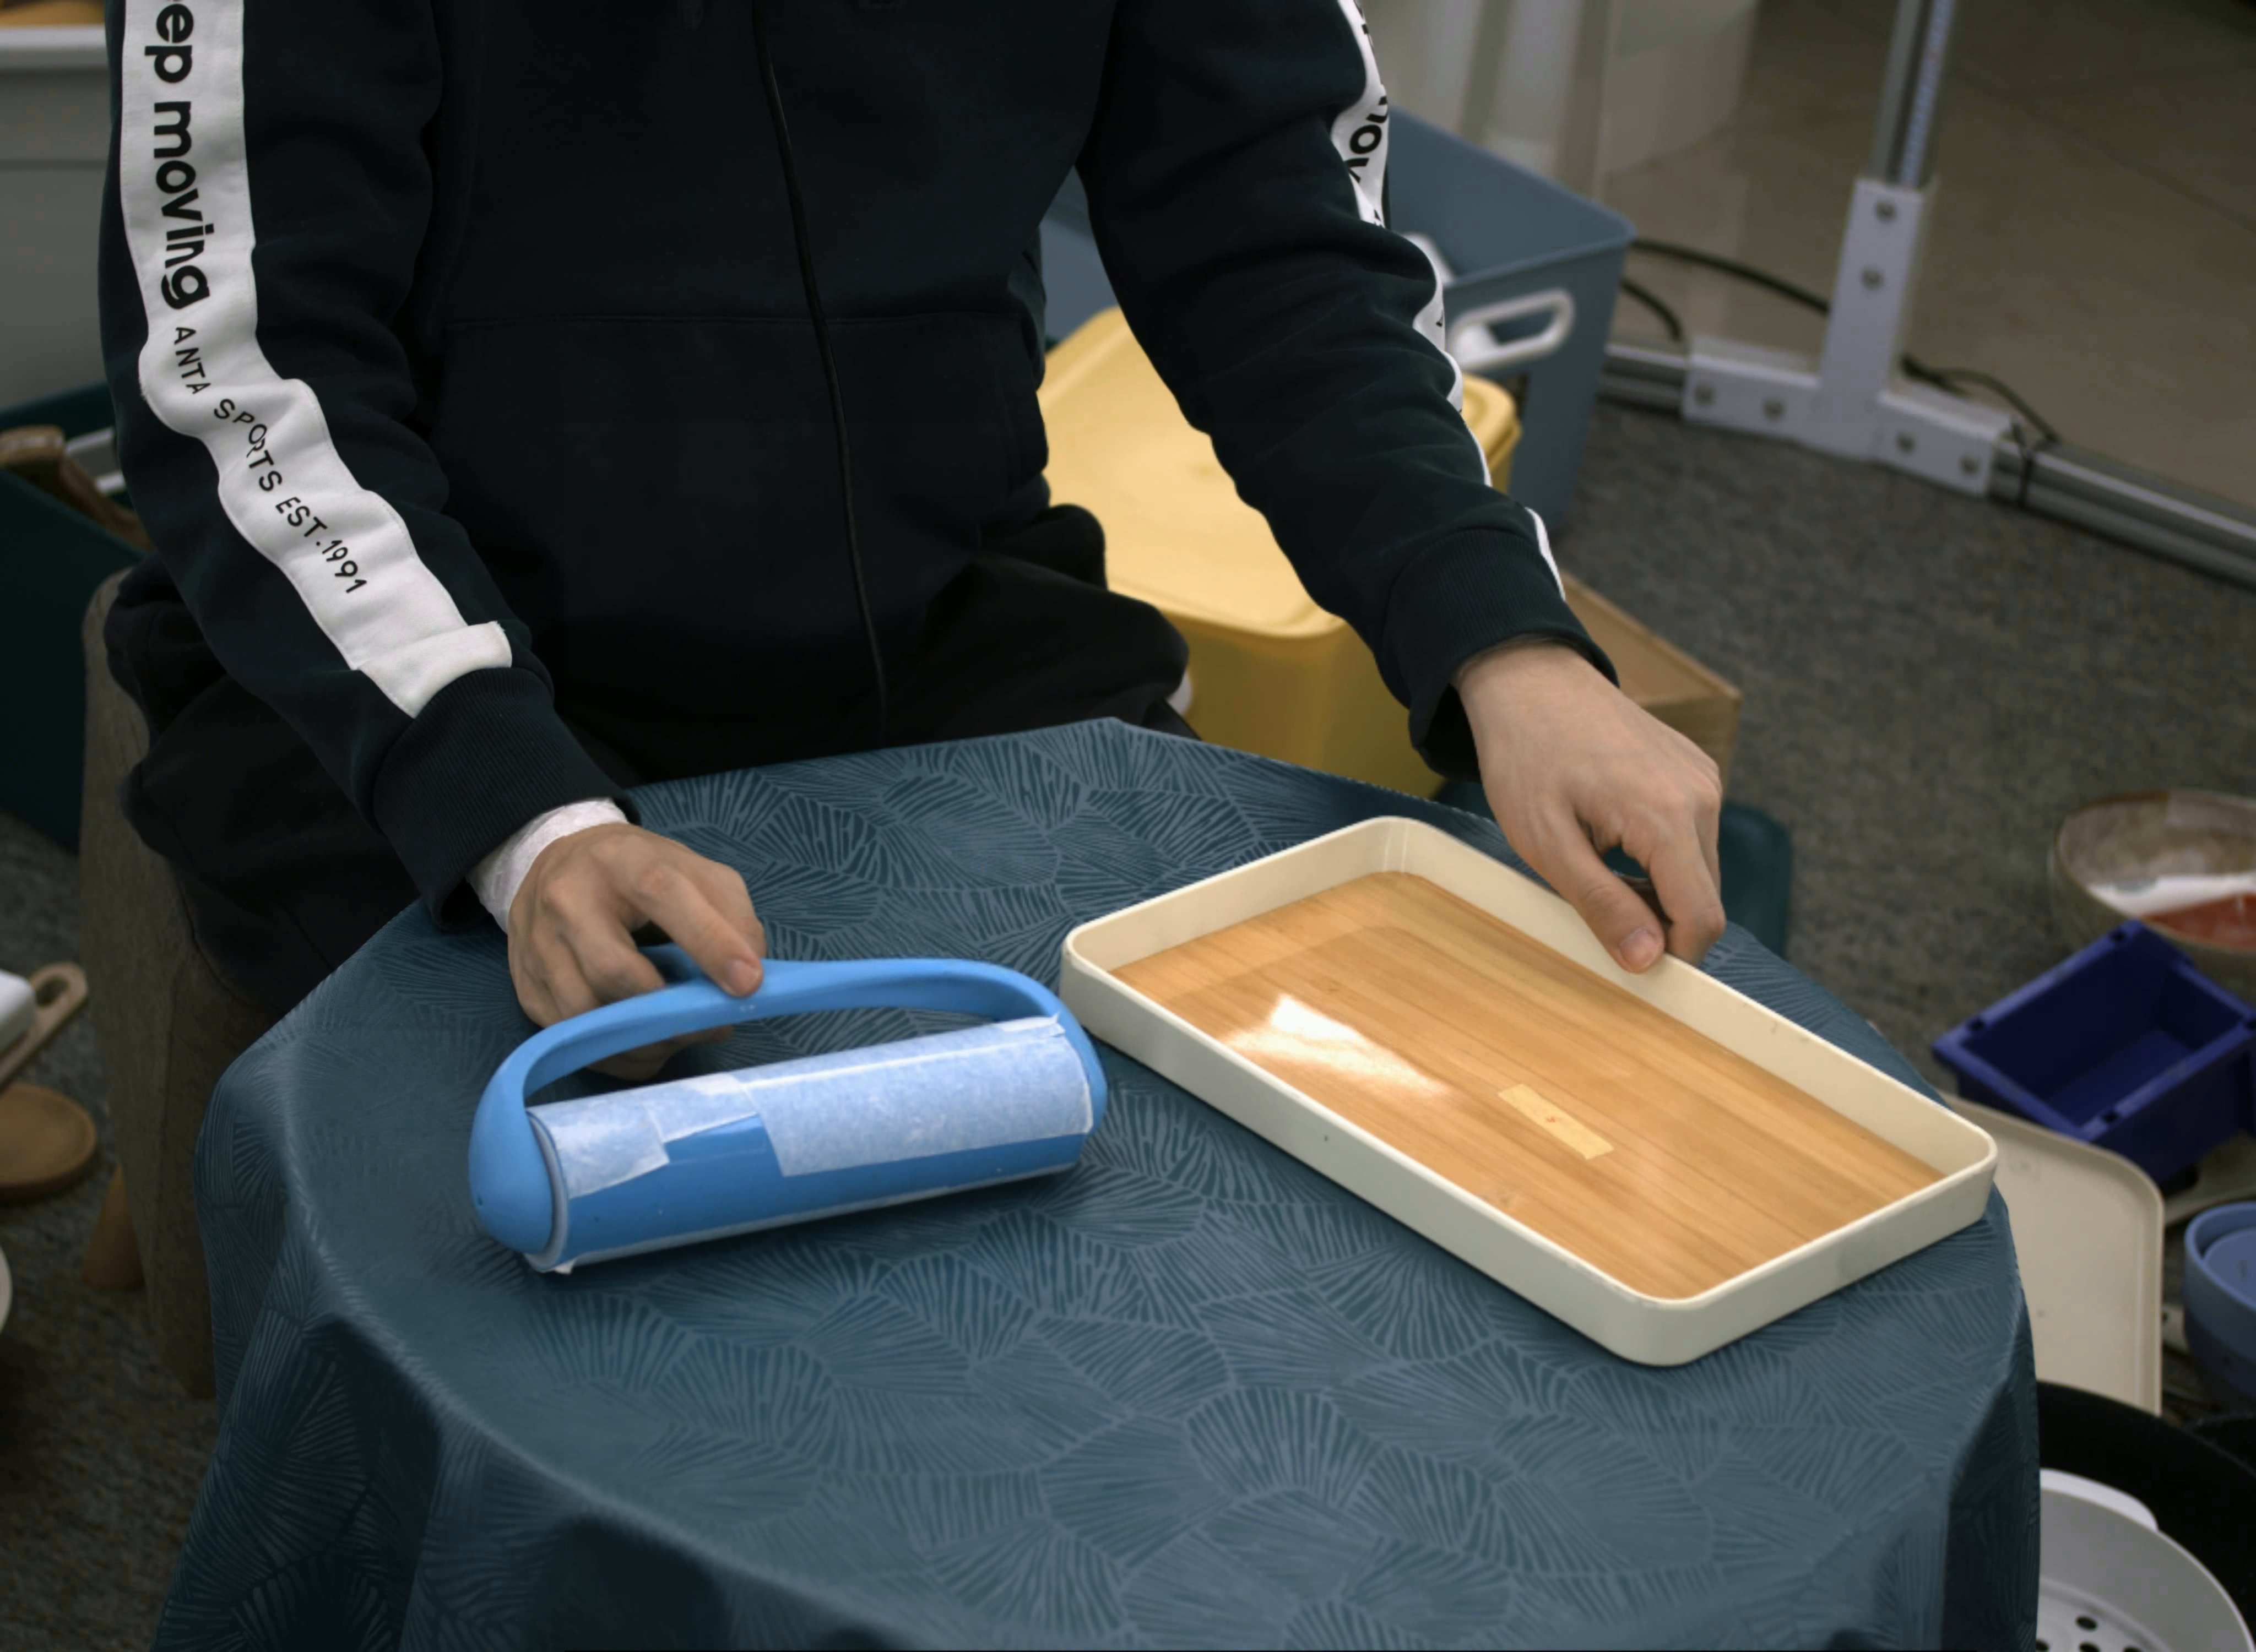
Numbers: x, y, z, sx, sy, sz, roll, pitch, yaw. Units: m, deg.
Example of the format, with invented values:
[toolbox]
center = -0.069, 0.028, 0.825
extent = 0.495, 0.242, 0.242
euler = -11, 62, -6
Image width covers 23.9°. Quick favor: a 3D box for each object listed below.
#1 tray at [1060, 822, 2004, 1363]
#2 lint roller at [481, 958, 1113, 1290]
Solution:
[tray]
center = 0.138, 0.088, 1.871
extent = 0.190, 0.027, 0.302
euler = -18, 36, -40
[lint roller]
center = -0.138, 0.079, 1.795
extent = 0.227, 0.067, 0.182
euler = -14, 34, -30
